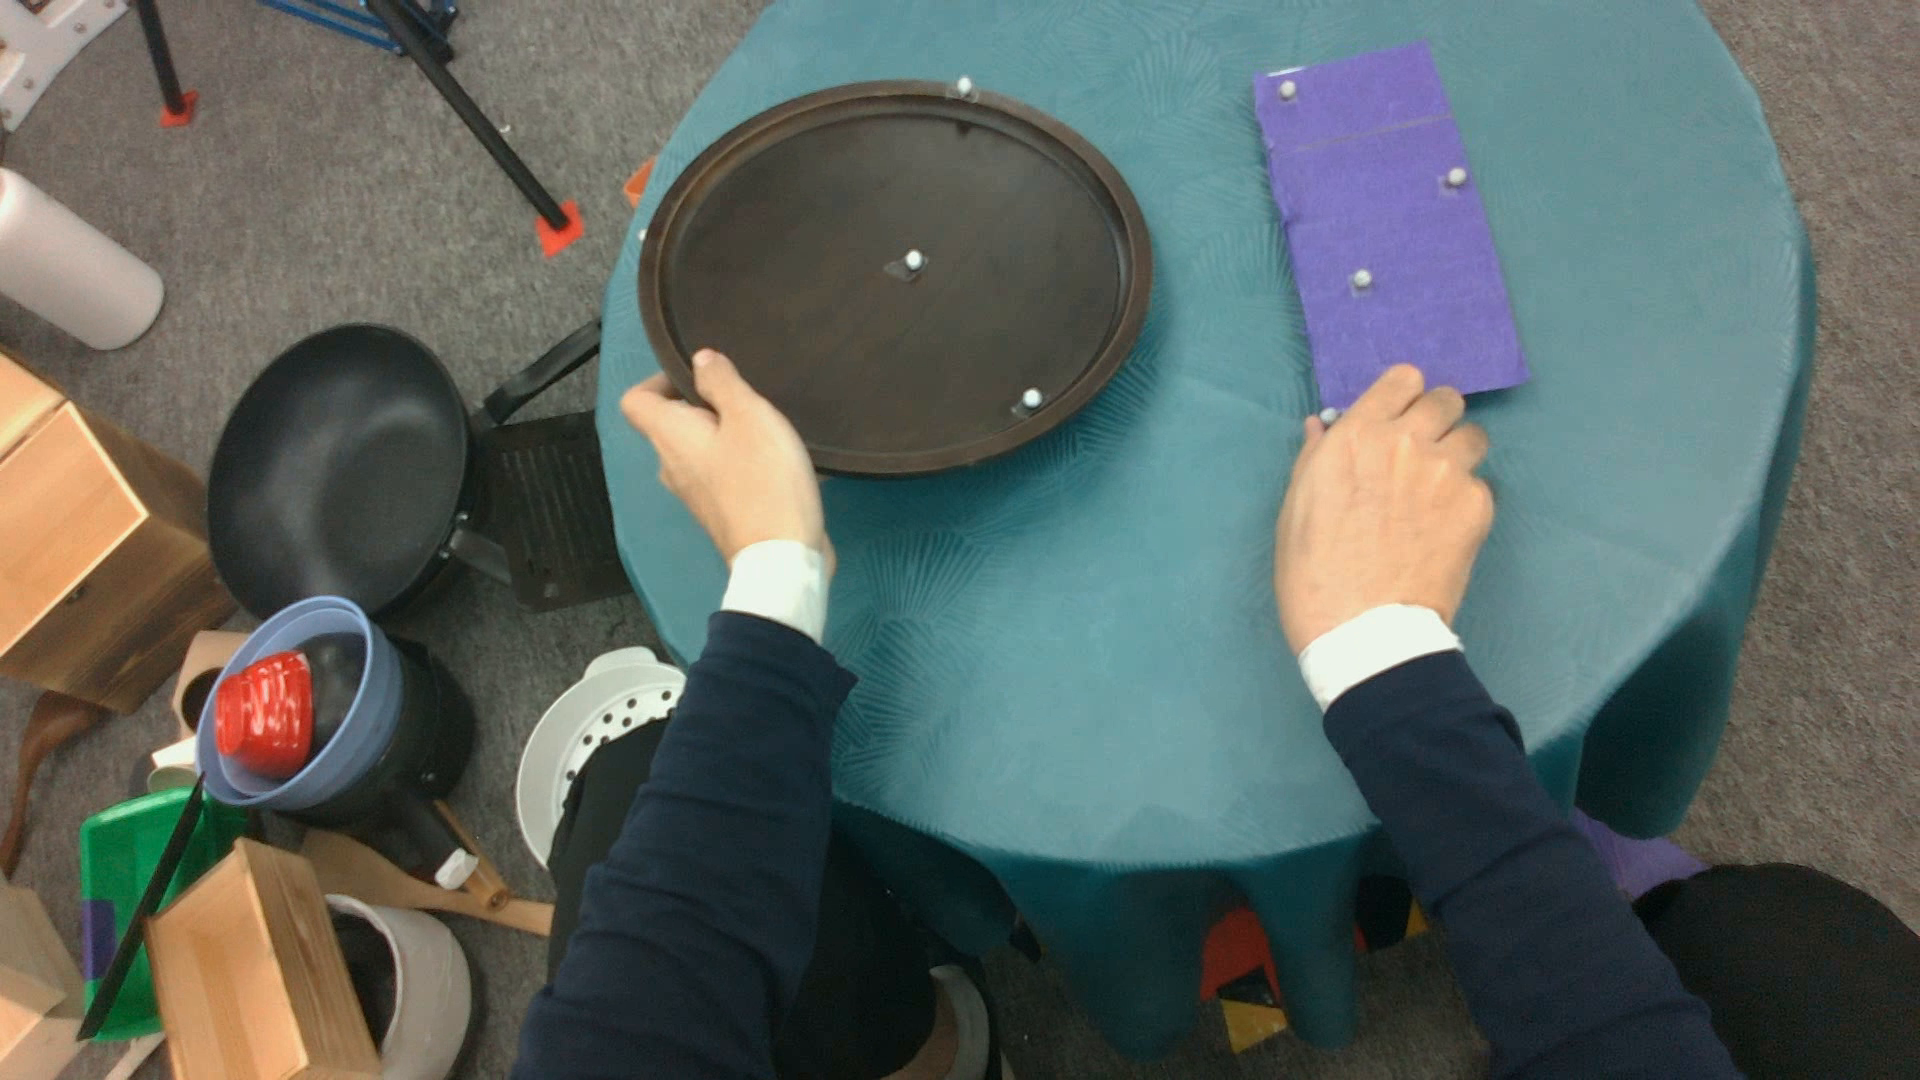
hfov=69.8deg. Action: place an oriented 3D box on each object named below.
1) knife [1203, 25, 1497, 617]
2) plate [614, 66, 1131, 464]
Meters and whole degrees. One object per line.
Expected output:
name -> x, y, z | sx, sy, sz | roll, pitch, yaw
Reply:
knife -> 0.193, -0.120, 0.642 | 0.104, 0.032, 0.316 | -10, 66, 7
plate -> -0.043, -0.142, 0.682 | 0.255, 0.029, 0.256 | 0, 58, 0
